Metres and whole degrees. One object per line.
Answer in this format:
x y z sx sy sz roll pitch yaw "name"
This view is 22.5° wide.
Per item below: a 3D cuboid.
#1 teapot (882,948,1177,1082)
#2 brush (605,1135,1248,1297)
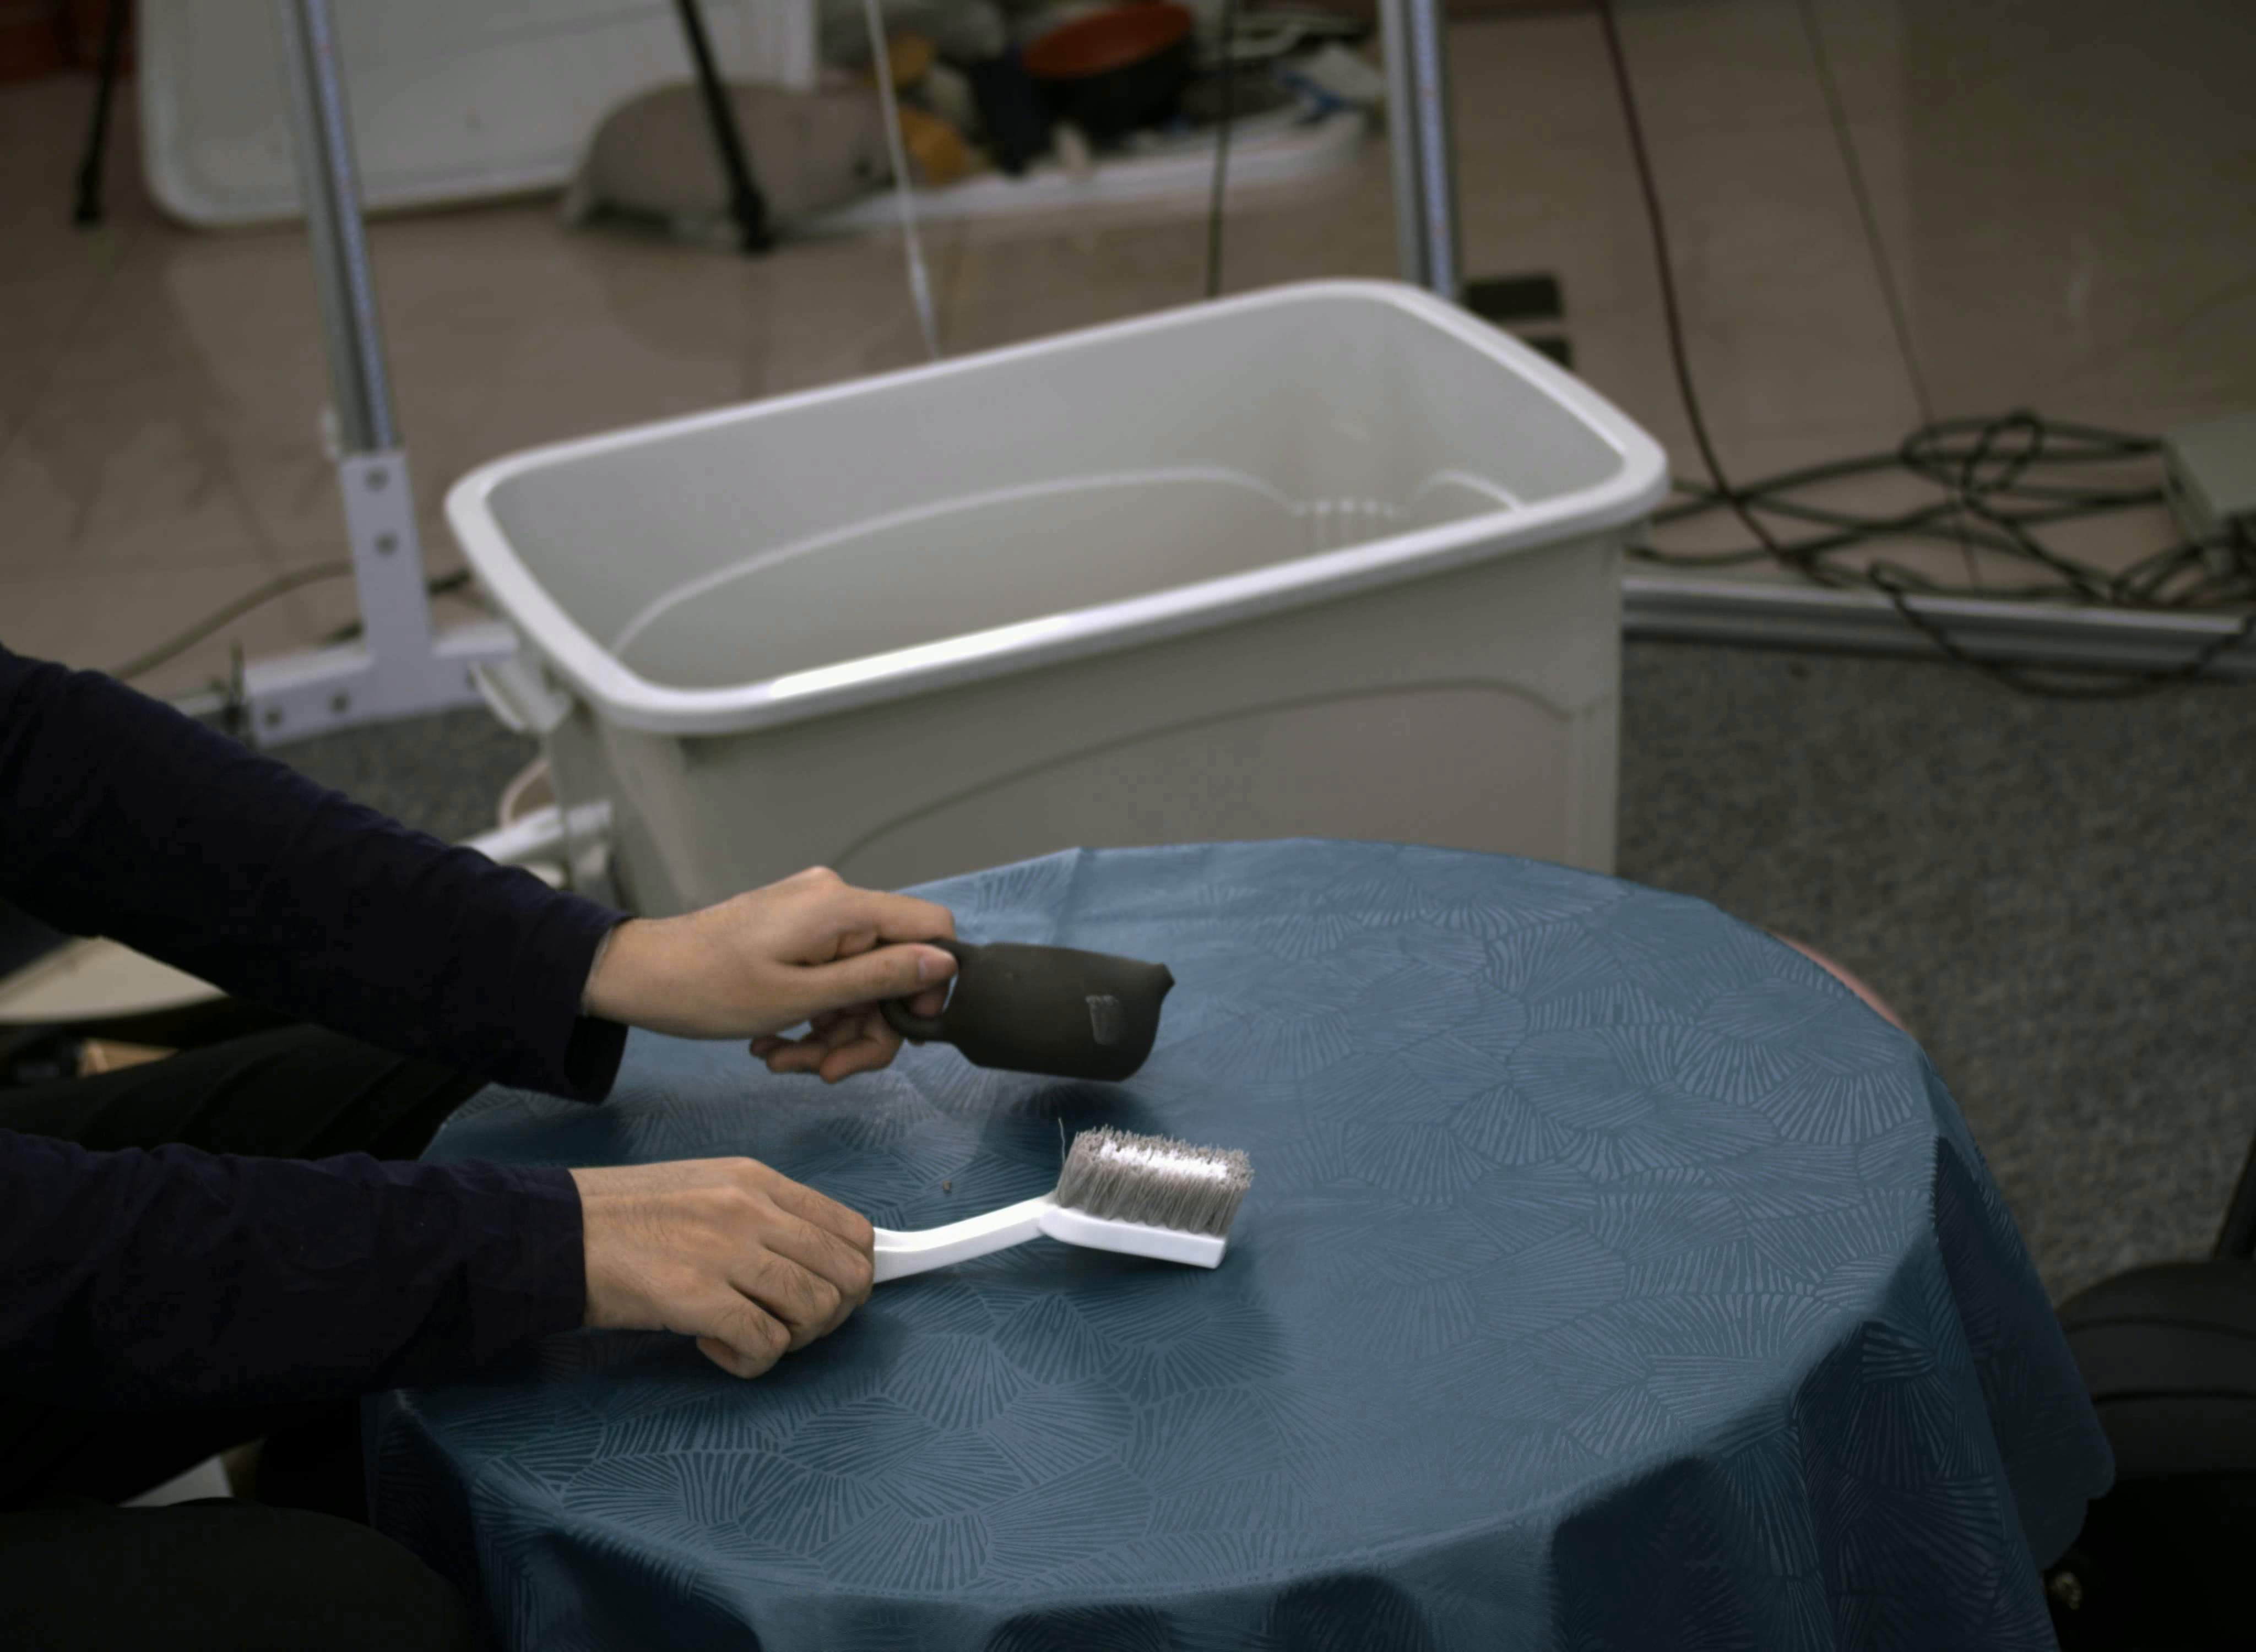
-0.039 0.072 2.209 0.114 0.053 0.083 5 0 4 "teapot"
-0.076 0.144 2.097 0.243 0.051 0.034 -3 31 6 "brush"
